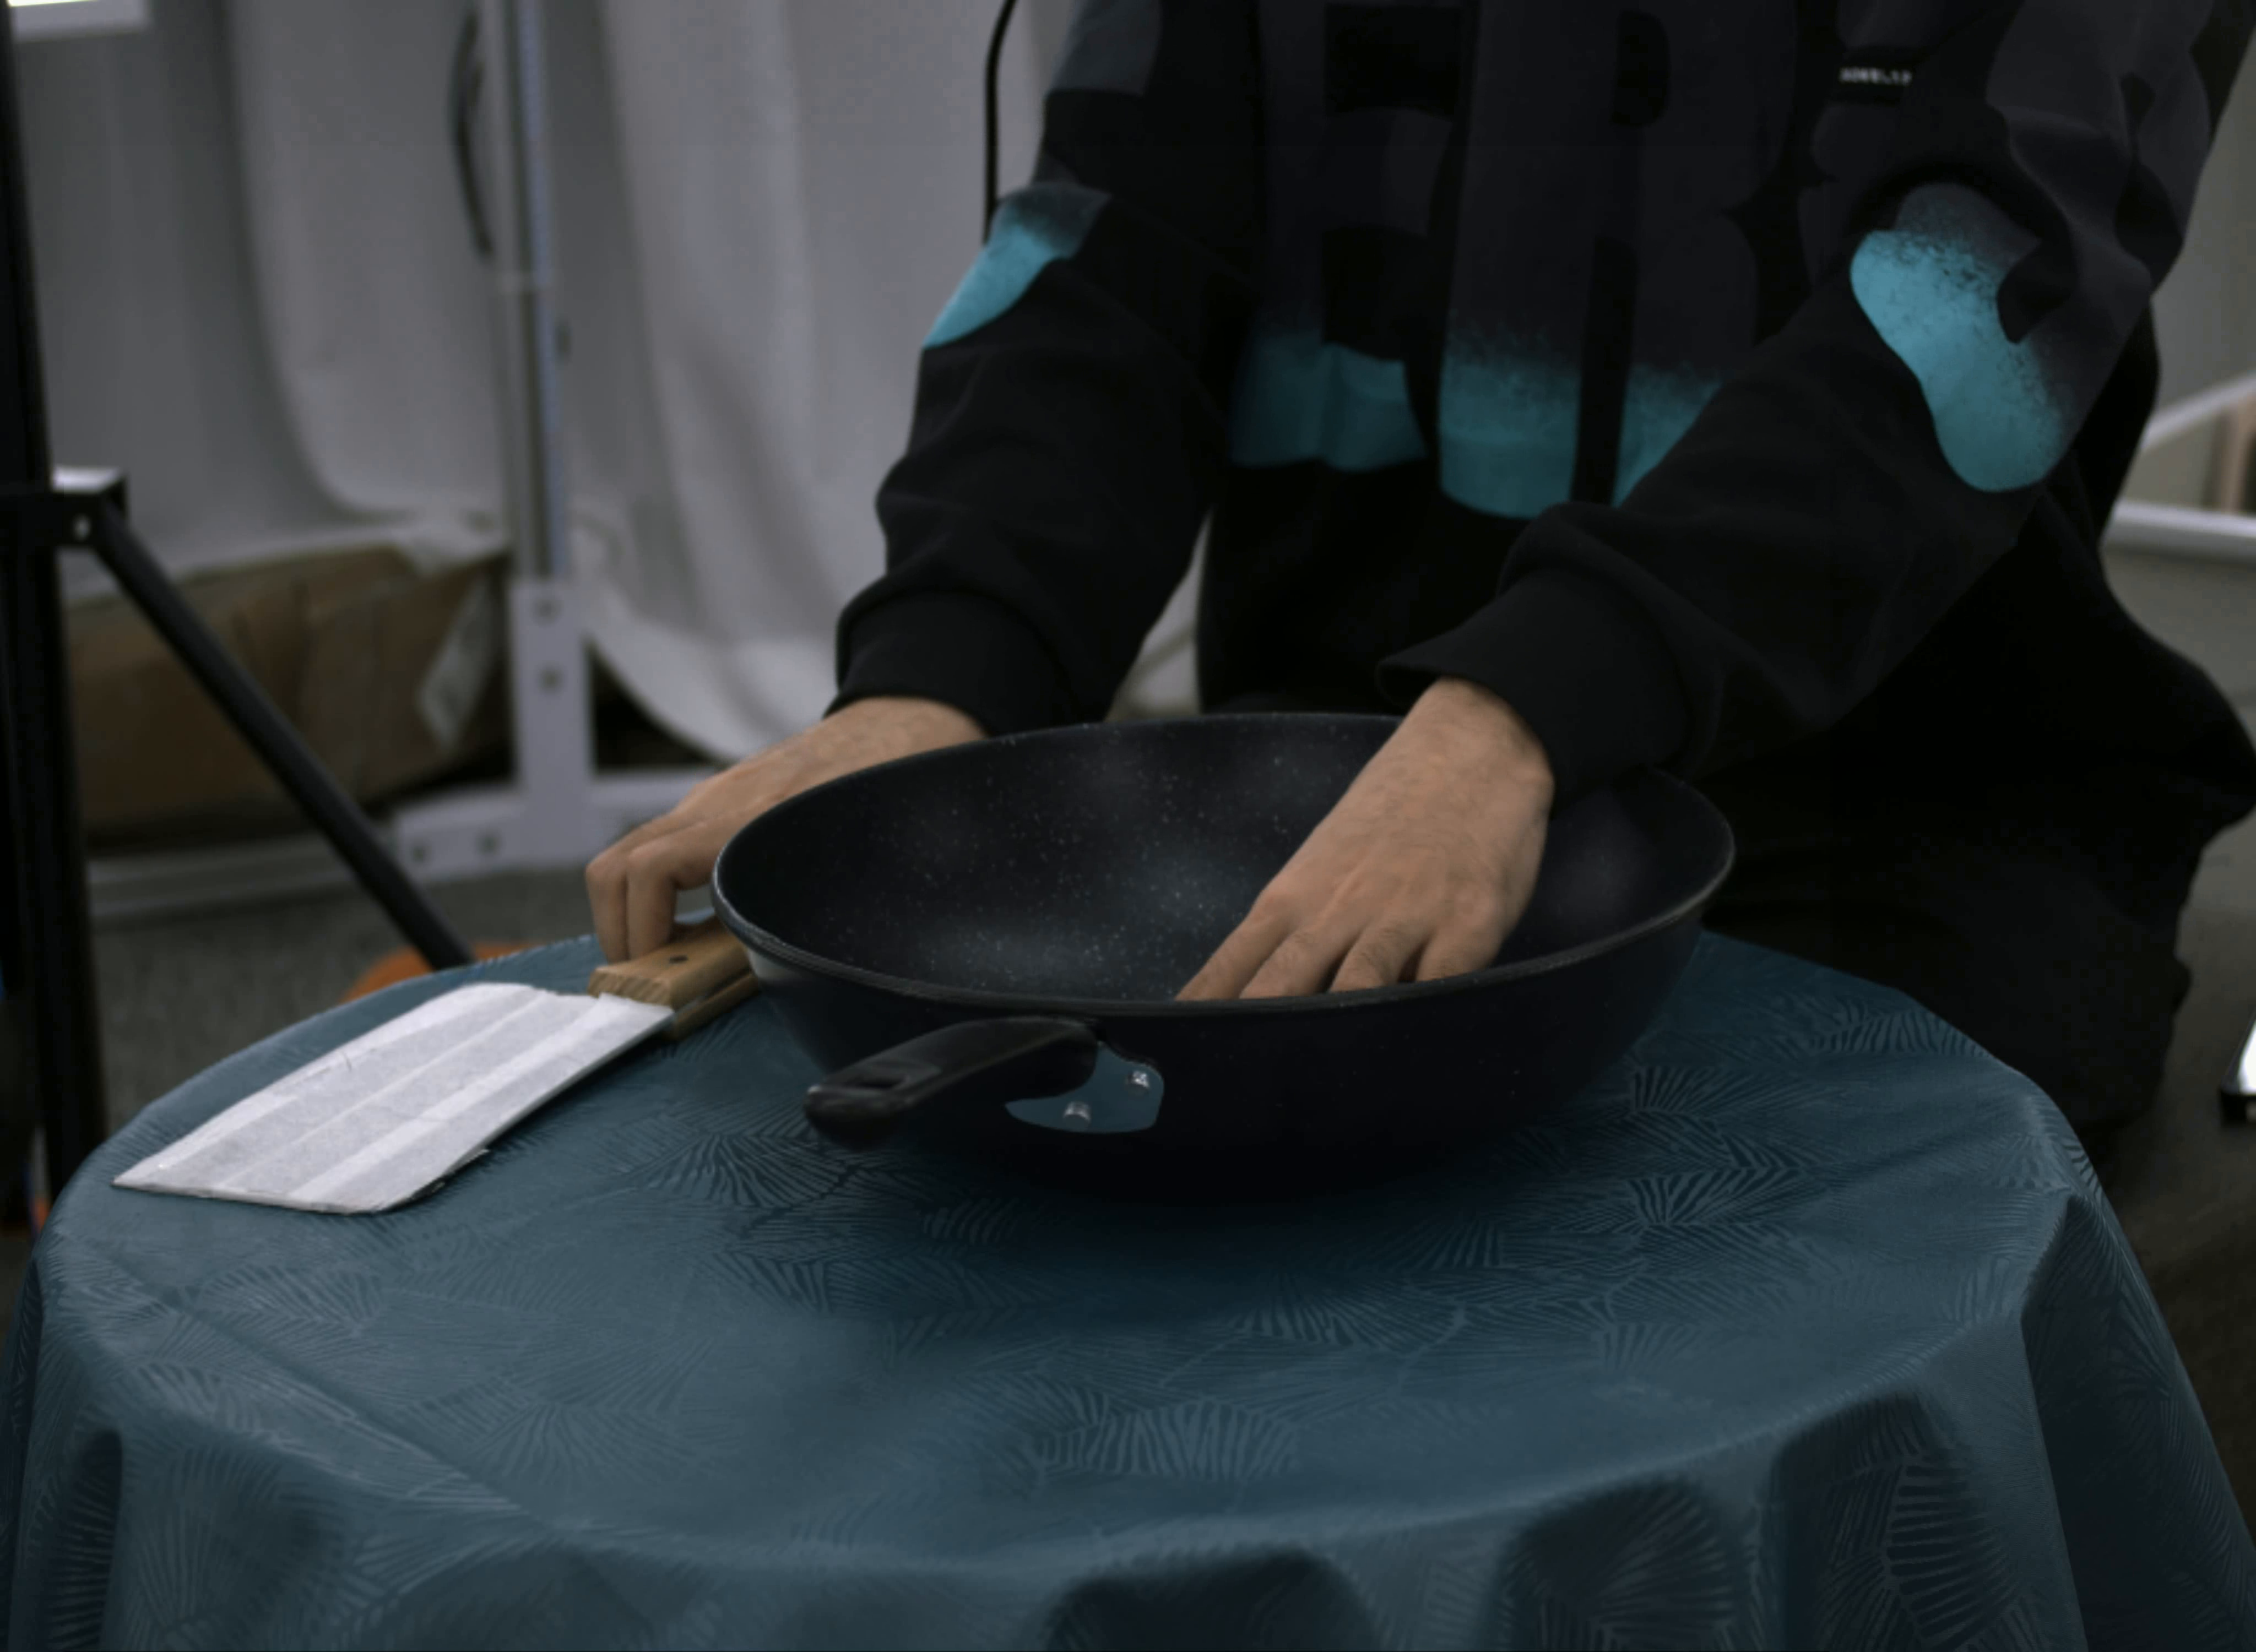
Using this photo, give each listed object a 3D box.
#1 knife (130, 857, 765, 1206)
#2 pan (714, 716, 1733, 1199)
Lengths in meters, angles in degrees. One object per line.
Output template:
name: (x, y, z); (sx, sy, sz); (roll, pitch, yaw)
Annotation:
knife: (-0.186, 0.066, 1.707); (0.116, 0.022, 0.310); (7, 21, 32)
pan: (0.005, 0.058, 1.541); (0.313, 0.111, 0.472); (1, 16, 19)
